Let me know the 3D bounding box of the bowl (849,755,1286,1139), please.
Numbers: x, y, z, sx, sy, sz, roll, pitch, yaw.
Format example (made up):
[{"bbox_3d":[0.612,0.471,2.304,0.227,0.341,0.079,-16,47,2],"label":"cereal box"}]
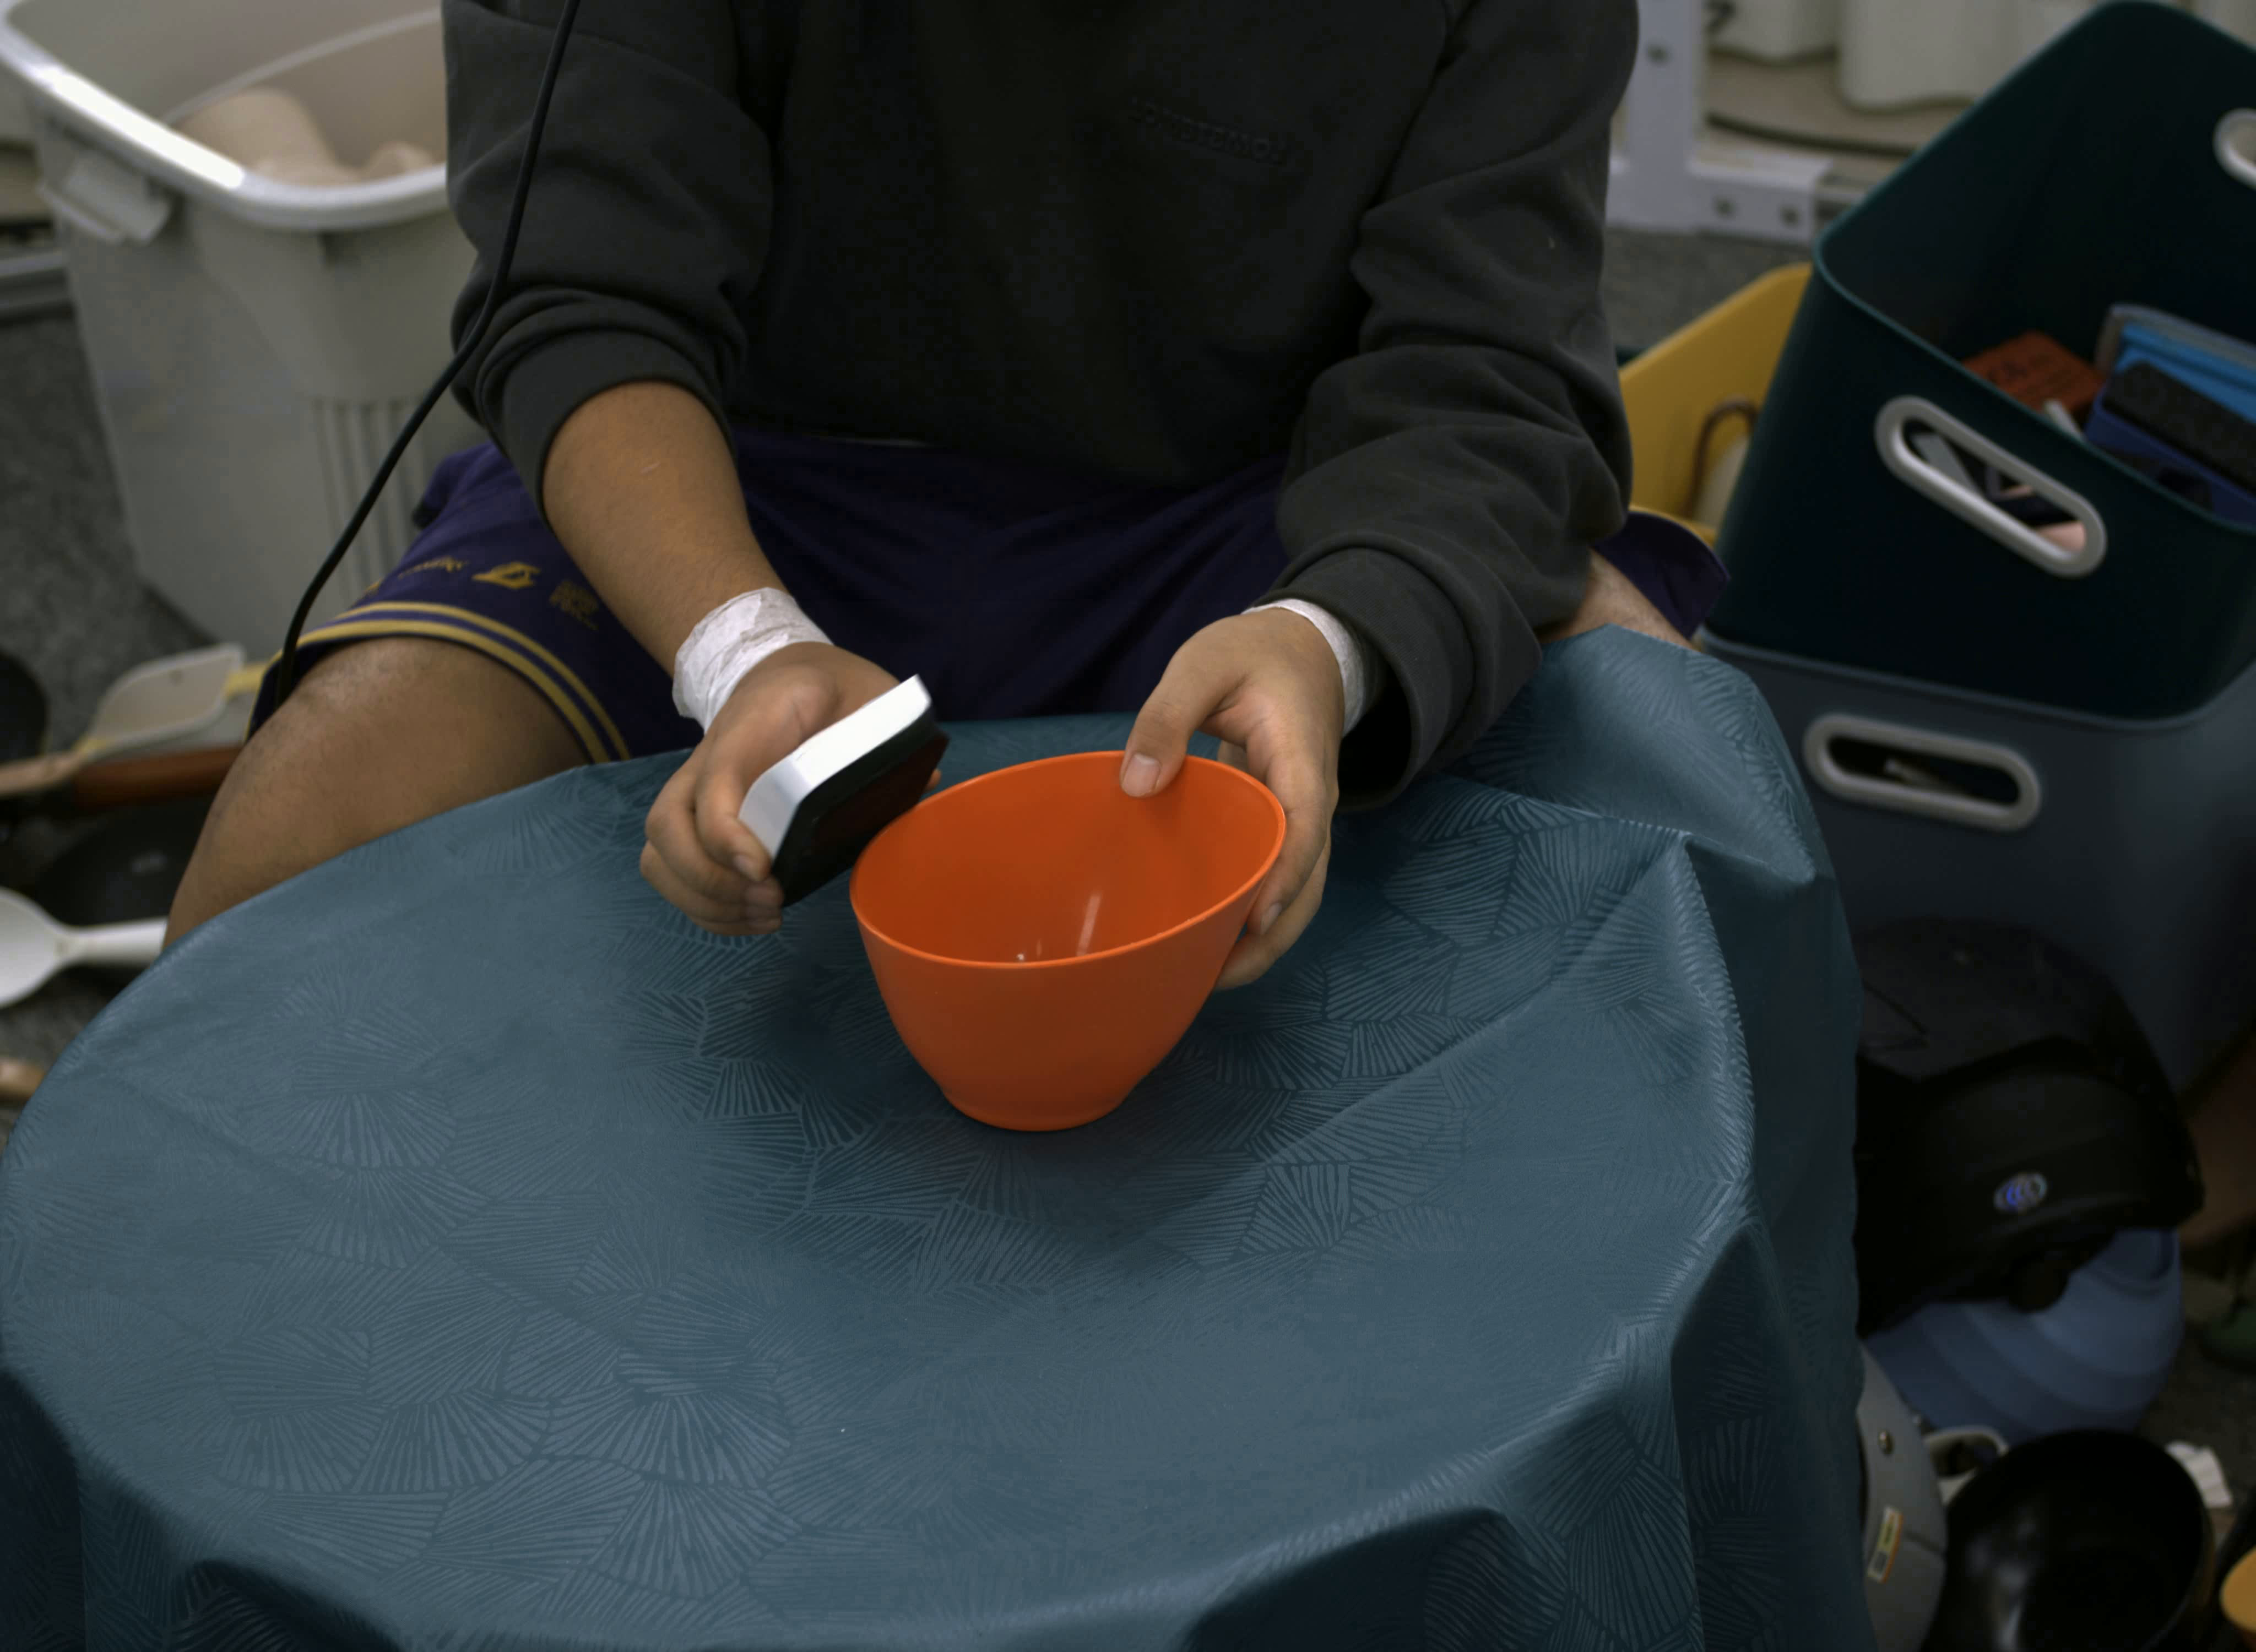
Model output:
[{"bbox_3d":[-0.021,0.046,1.899,0.147,0.103,0.150,0,29,0],"label":"bowl"}]

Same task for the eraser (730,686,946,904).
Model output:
[{"bbox_3d":[-0.098,-0.012,1.903,0.064,0.034,0.130,-32,-6,-16],"label":"eraser"}]
